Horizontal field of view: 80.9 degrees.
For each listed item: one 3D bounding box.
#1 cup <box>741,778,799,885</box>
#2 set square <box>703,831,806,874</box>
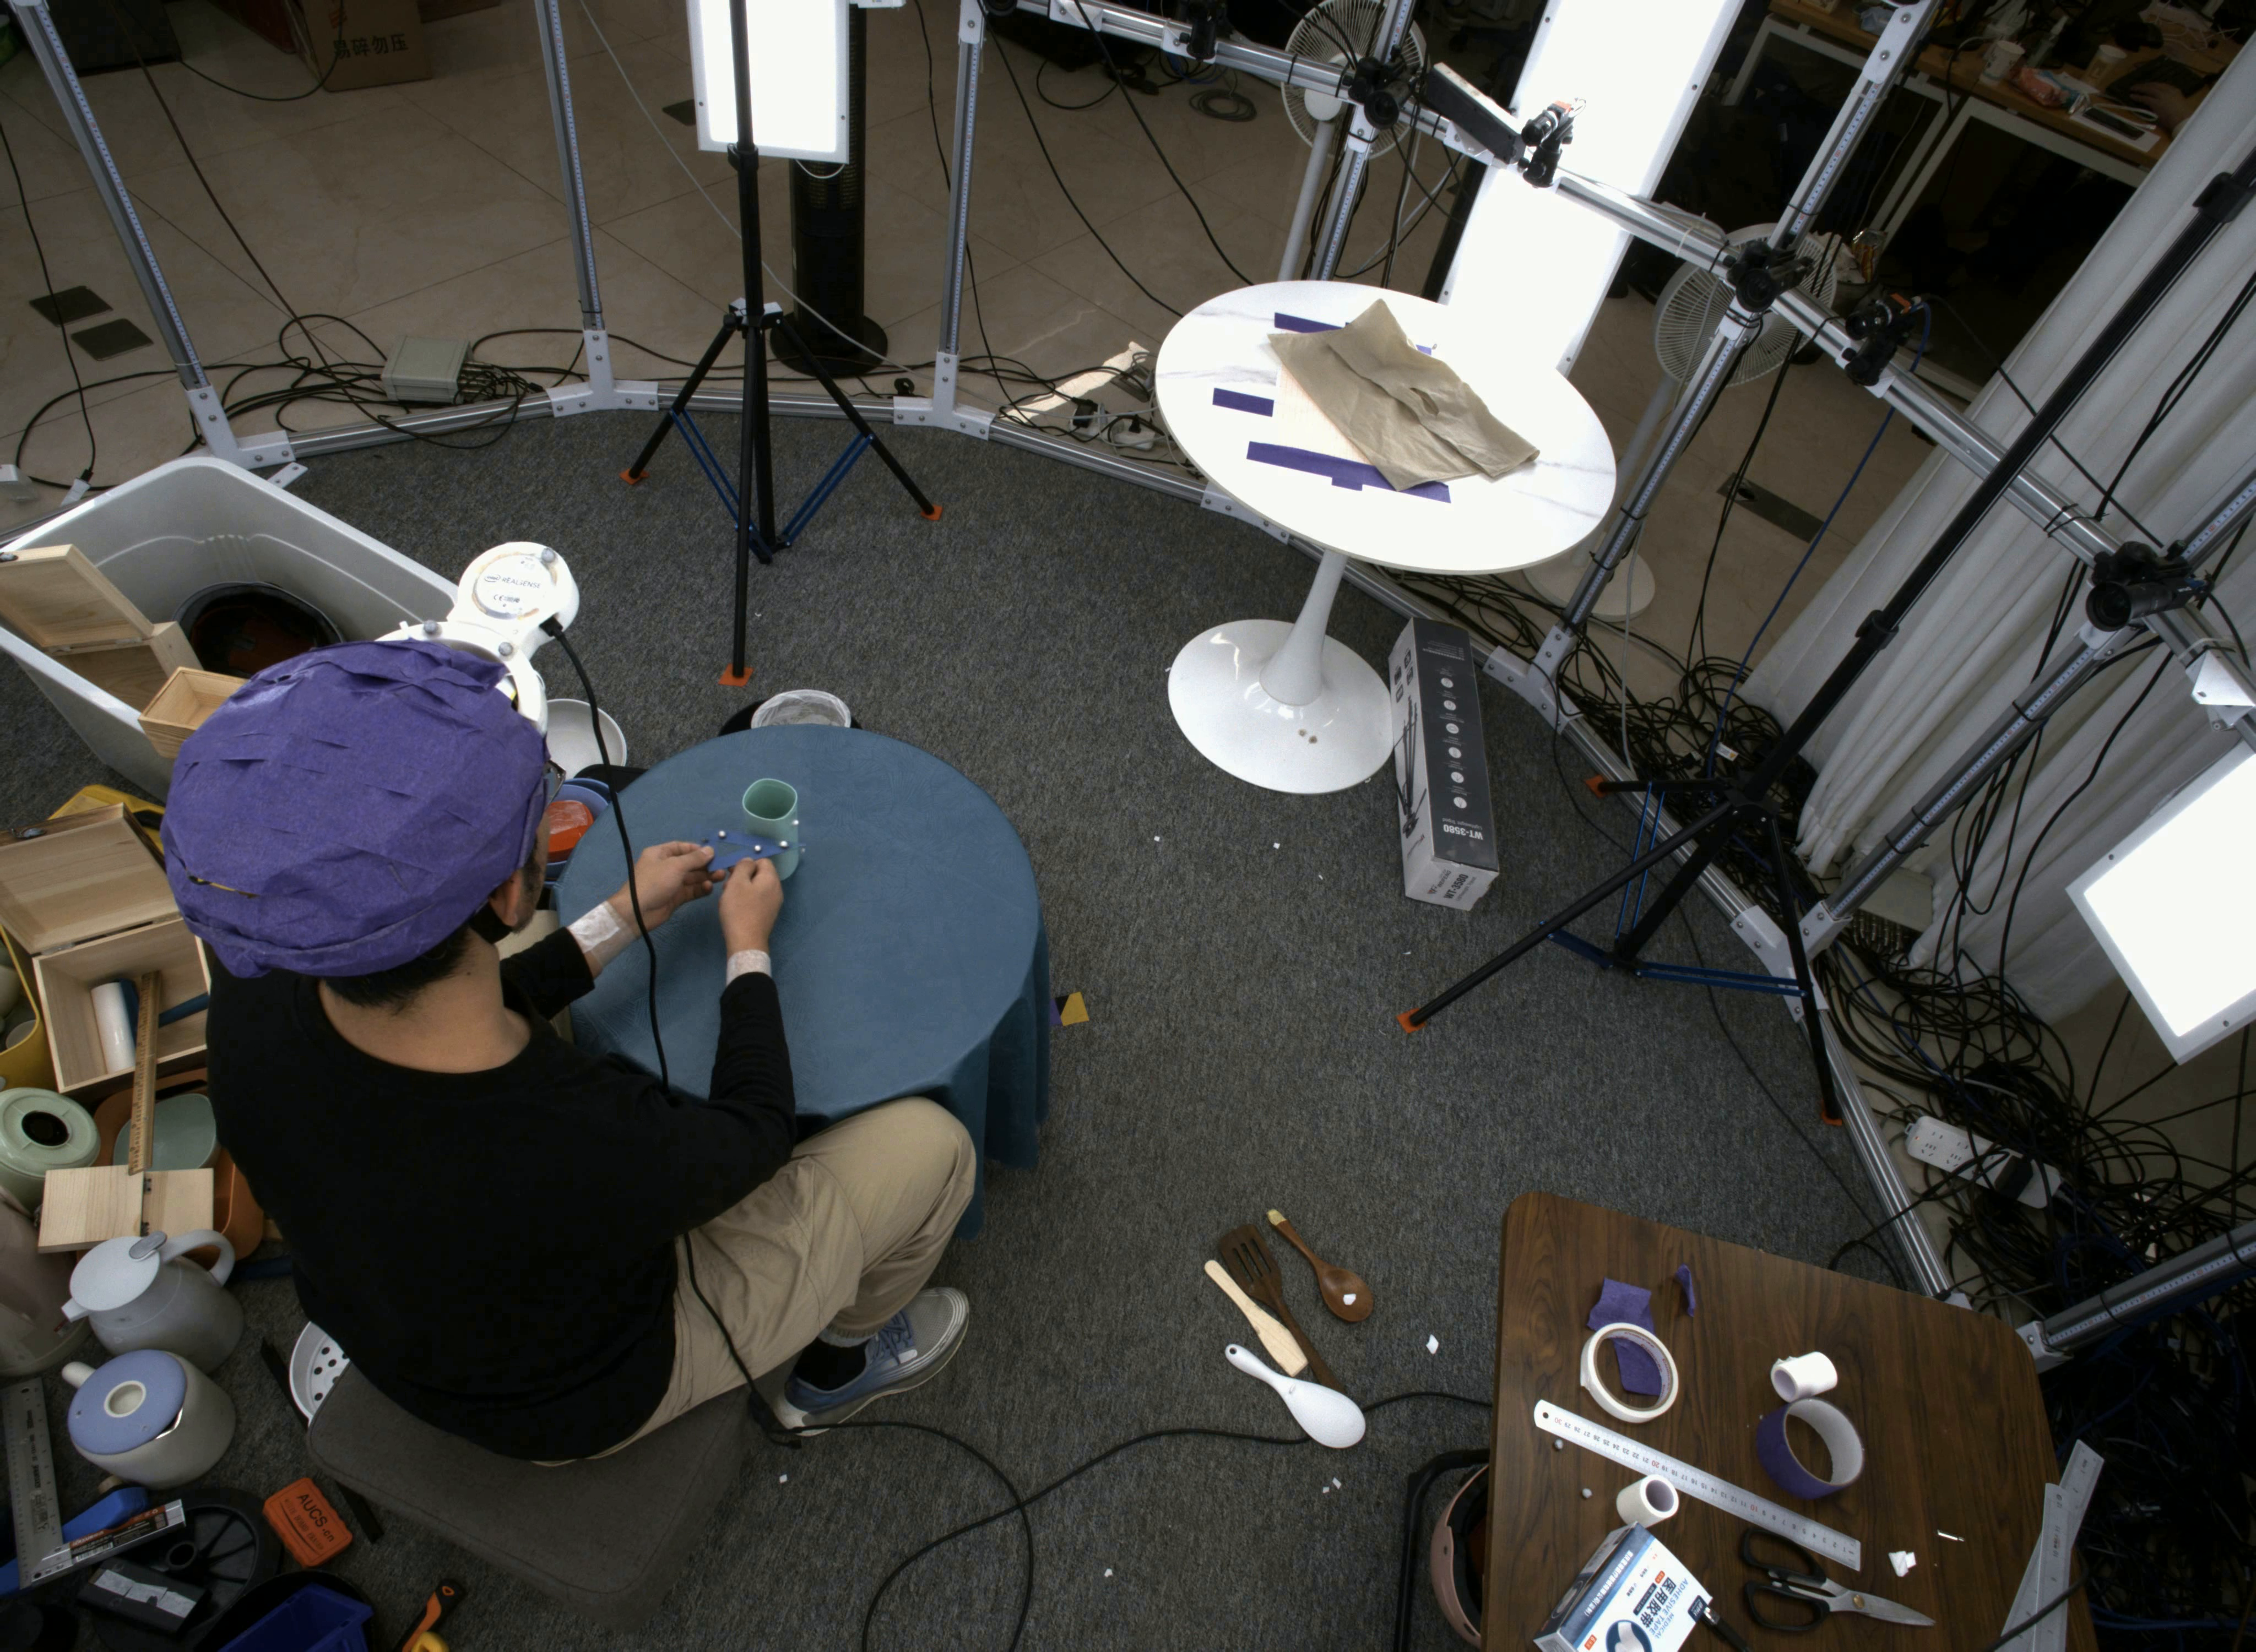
[{"bbox_3d":[-0.449,0.008,1.627,0.066,0.135,0.065,7,51,-7],"label":"cup"},{"bbox_3d":[-0.457,0.039,1.552,0.131,0.007,0.060,13,54,-2],"label":"set square"}]
